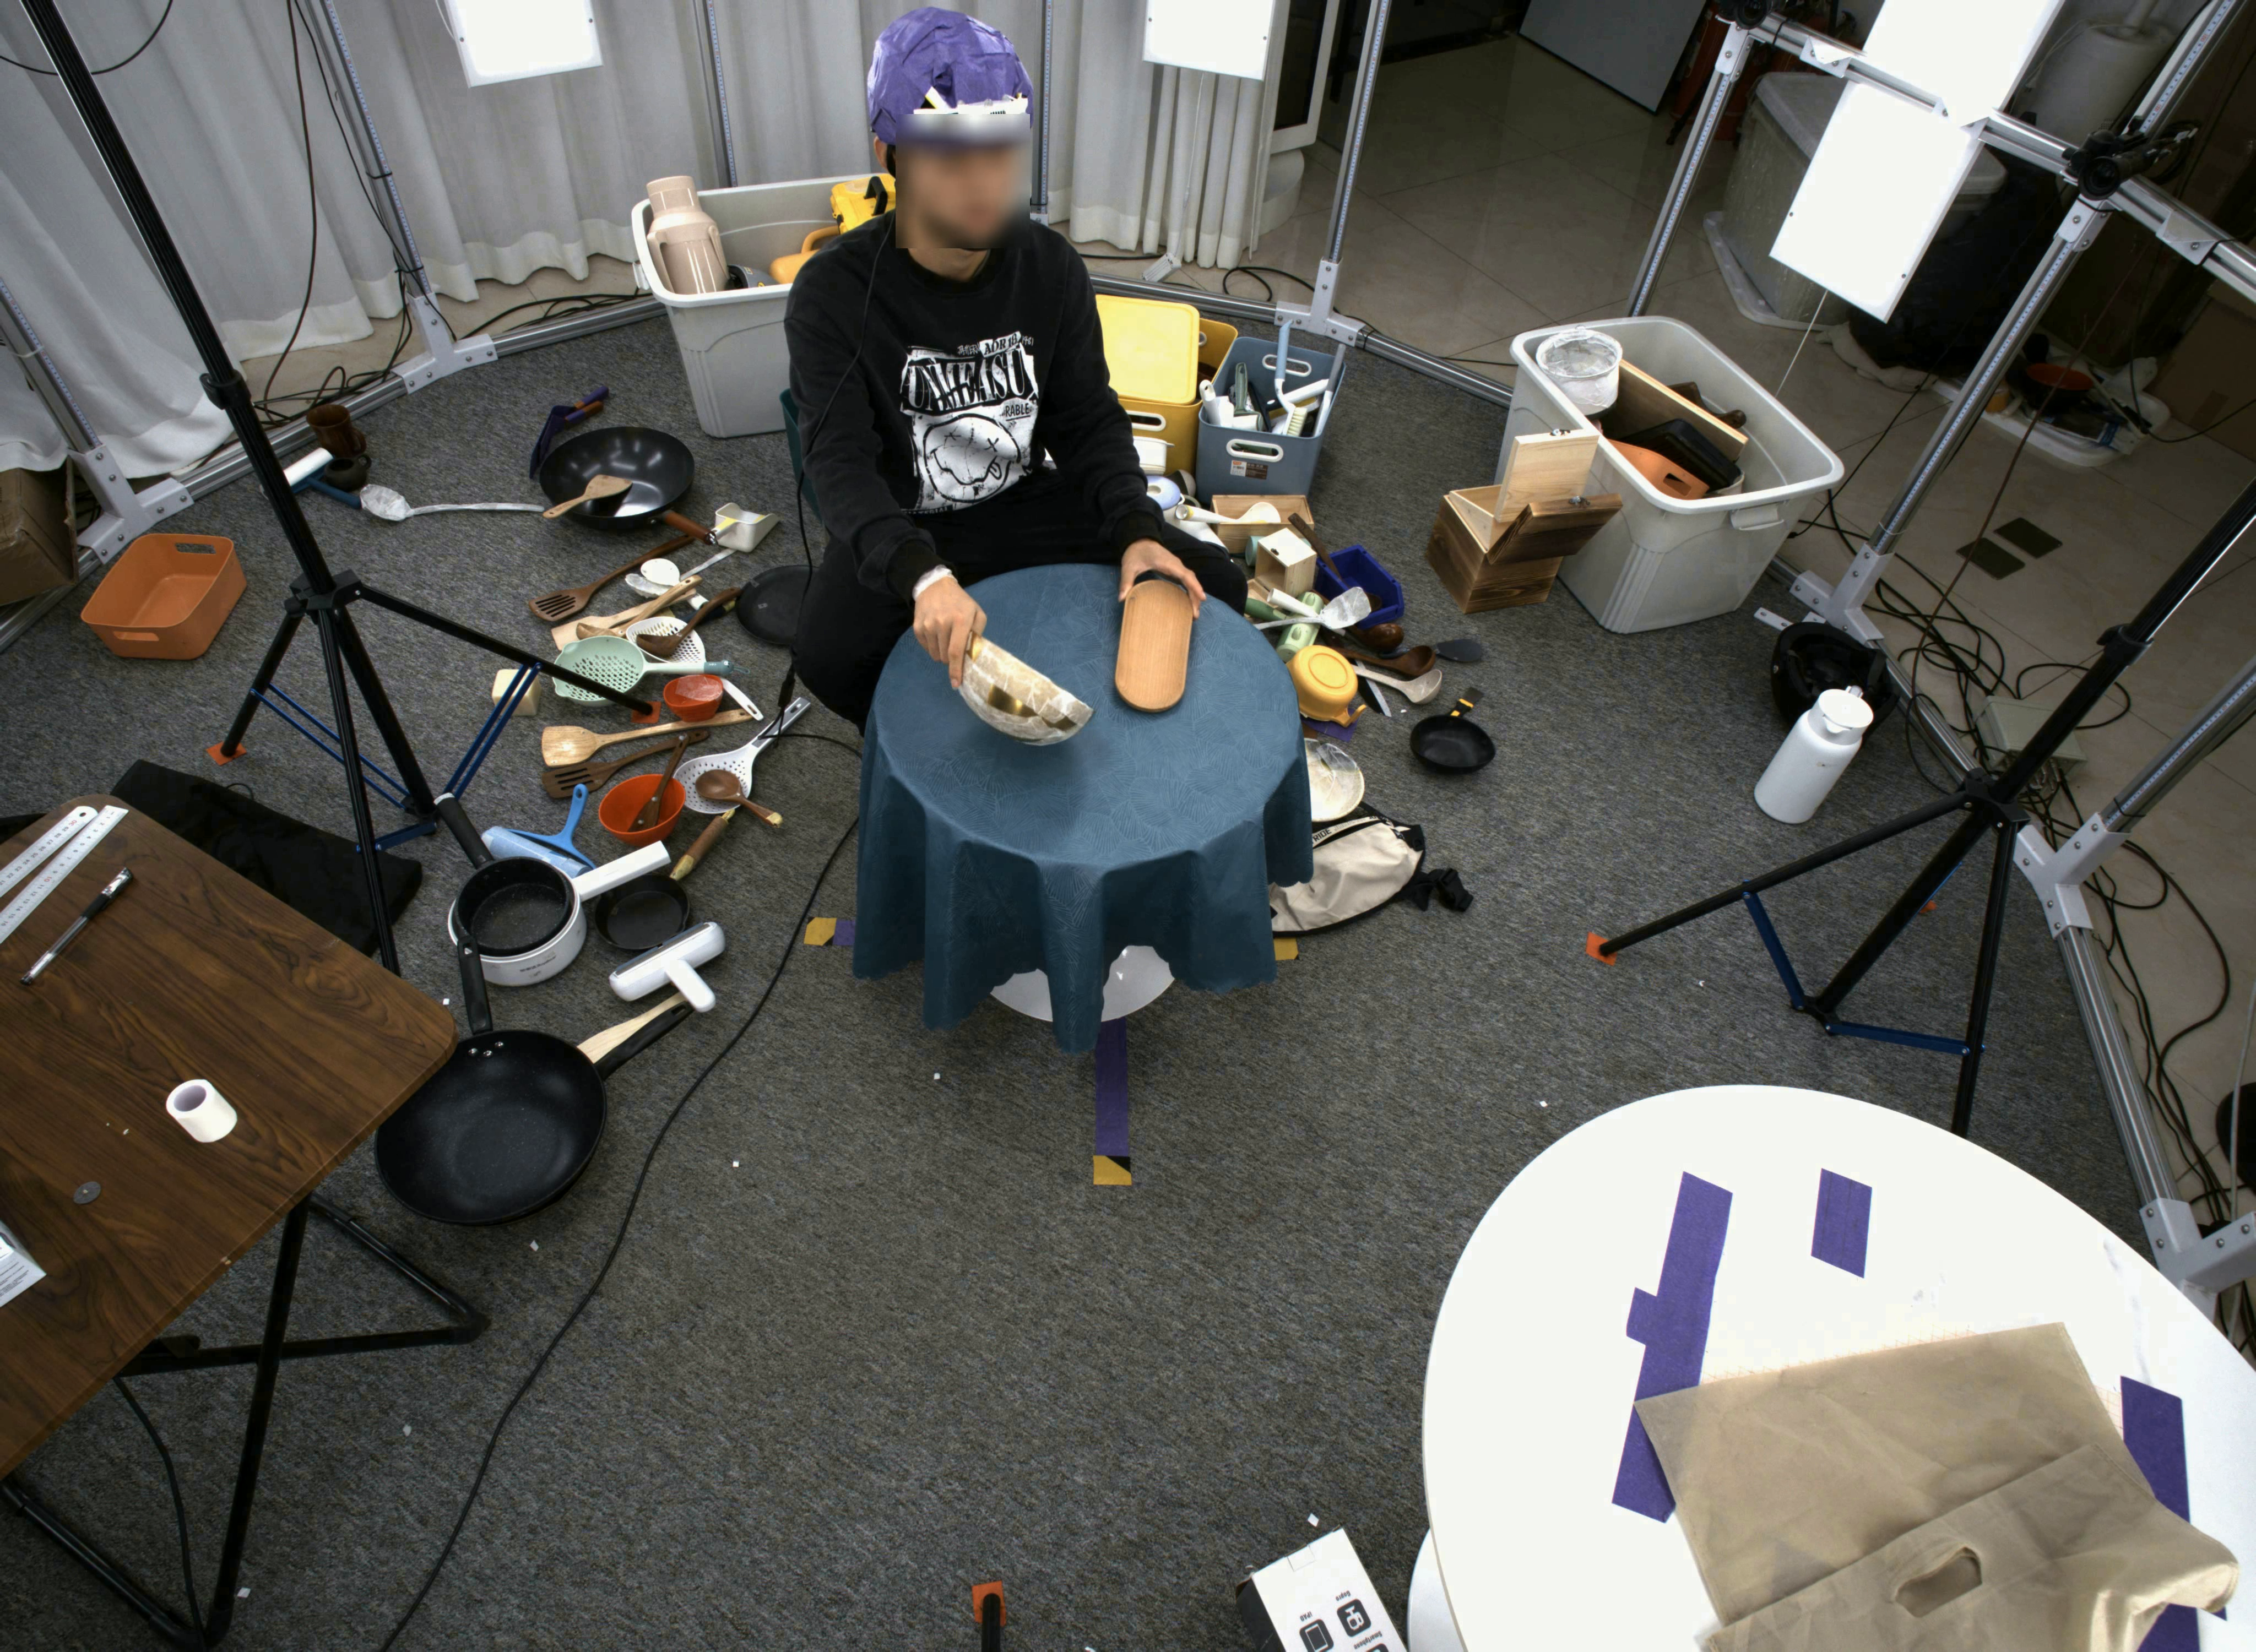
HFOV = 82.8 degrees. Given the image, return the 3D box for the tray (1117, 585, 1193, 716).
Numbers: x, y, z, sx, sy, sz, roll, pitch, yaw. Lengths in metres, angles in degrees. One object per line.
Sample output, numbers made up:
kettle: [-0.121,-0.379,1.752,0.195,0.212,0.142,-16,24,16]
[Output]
tray: [0.040,-0.259,1.877,0.101,0.020,0.236,6,61,-1]

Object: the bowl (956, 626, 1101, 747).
bowl: [-0.148,-0.165,1.690,0.217,0.212,0.094,34,92,22]
